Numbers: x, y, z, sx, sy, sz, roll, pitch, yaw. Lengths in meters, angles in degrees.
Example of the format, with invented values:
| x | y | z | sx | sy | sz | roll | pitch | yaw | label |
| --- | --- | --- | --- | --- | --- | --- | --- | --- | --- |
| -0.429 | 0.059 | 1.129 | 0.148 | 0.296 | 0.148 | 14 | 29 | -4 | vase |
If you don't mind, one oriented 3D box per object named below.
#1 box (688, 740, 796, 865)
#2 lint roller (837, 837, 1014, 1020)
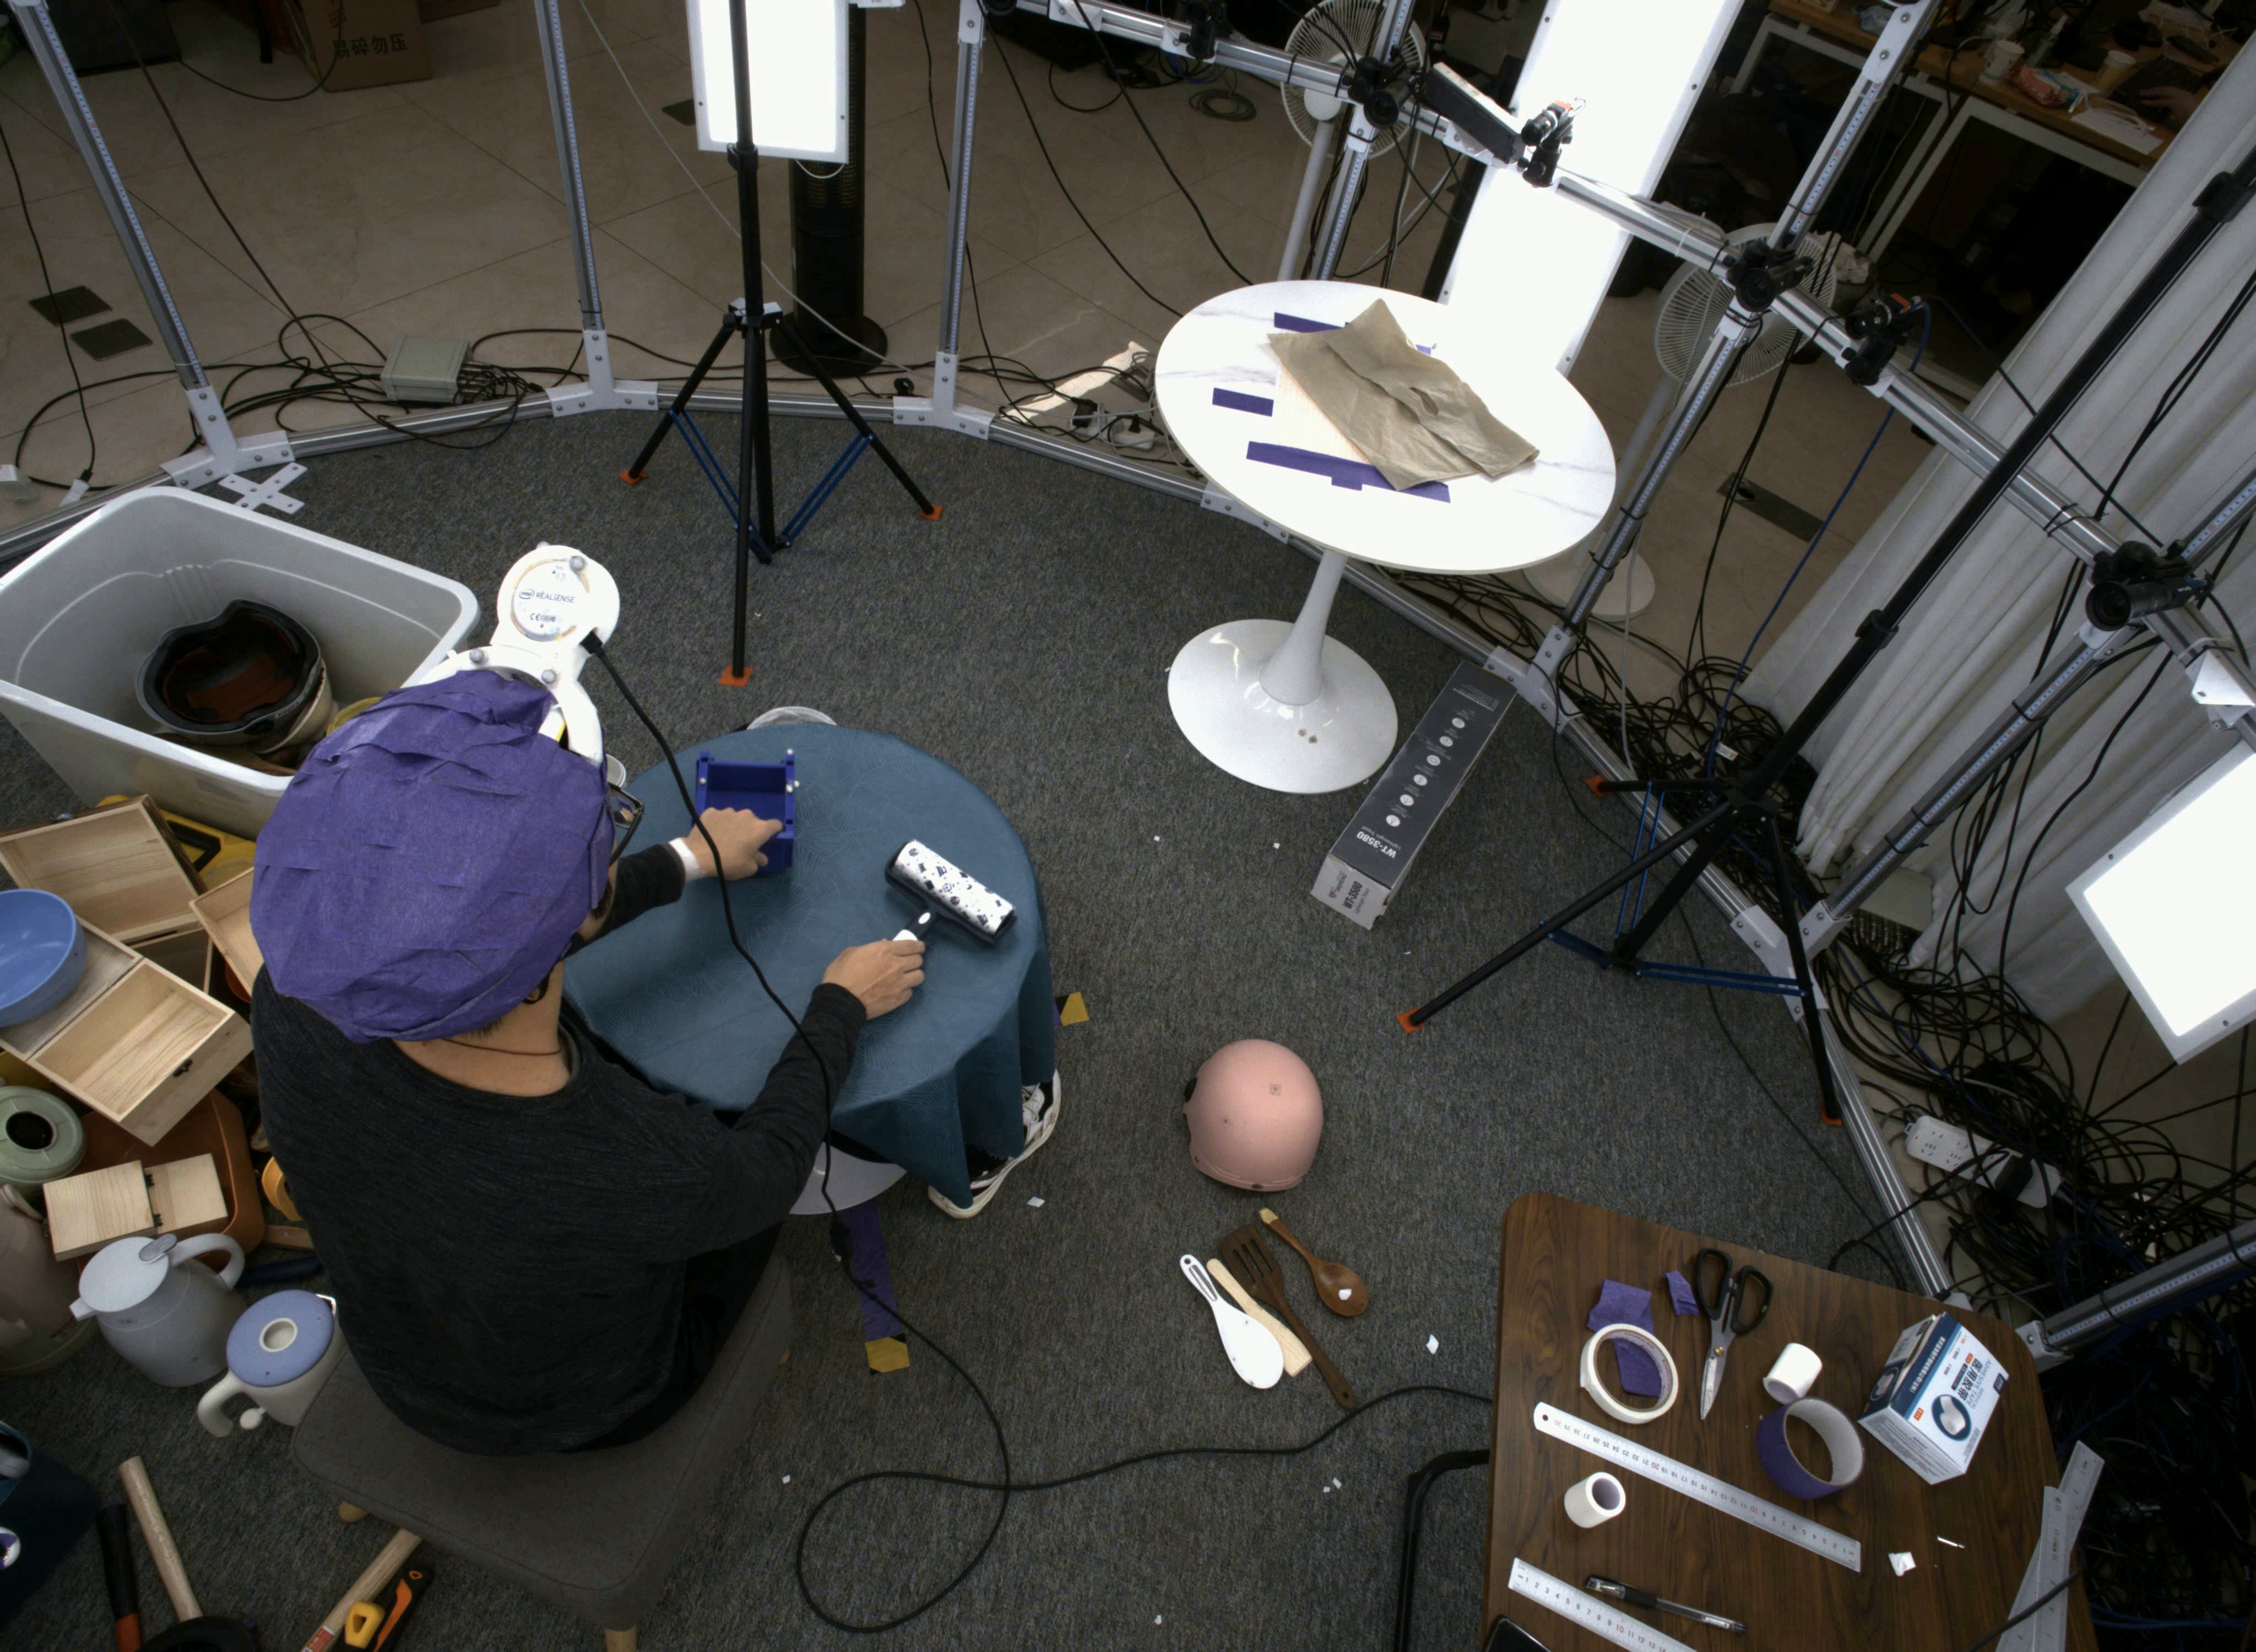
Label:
| x | y | z | sx | sy | sz | roll | pitch | yaw | label |
| --- | --- | --- | --- | --- | --- | --- | --- | --- | --- |
| -0.490 | -0.037 | 1.651 | 0.125 | 0.083 | 0.175 | 2 | 51 | -15 | box |
| -0.275 | 0.141 | 1.610 | 0.175 | 0.051 | 0.246 | 36 | 54 | 3 | lint roller |
